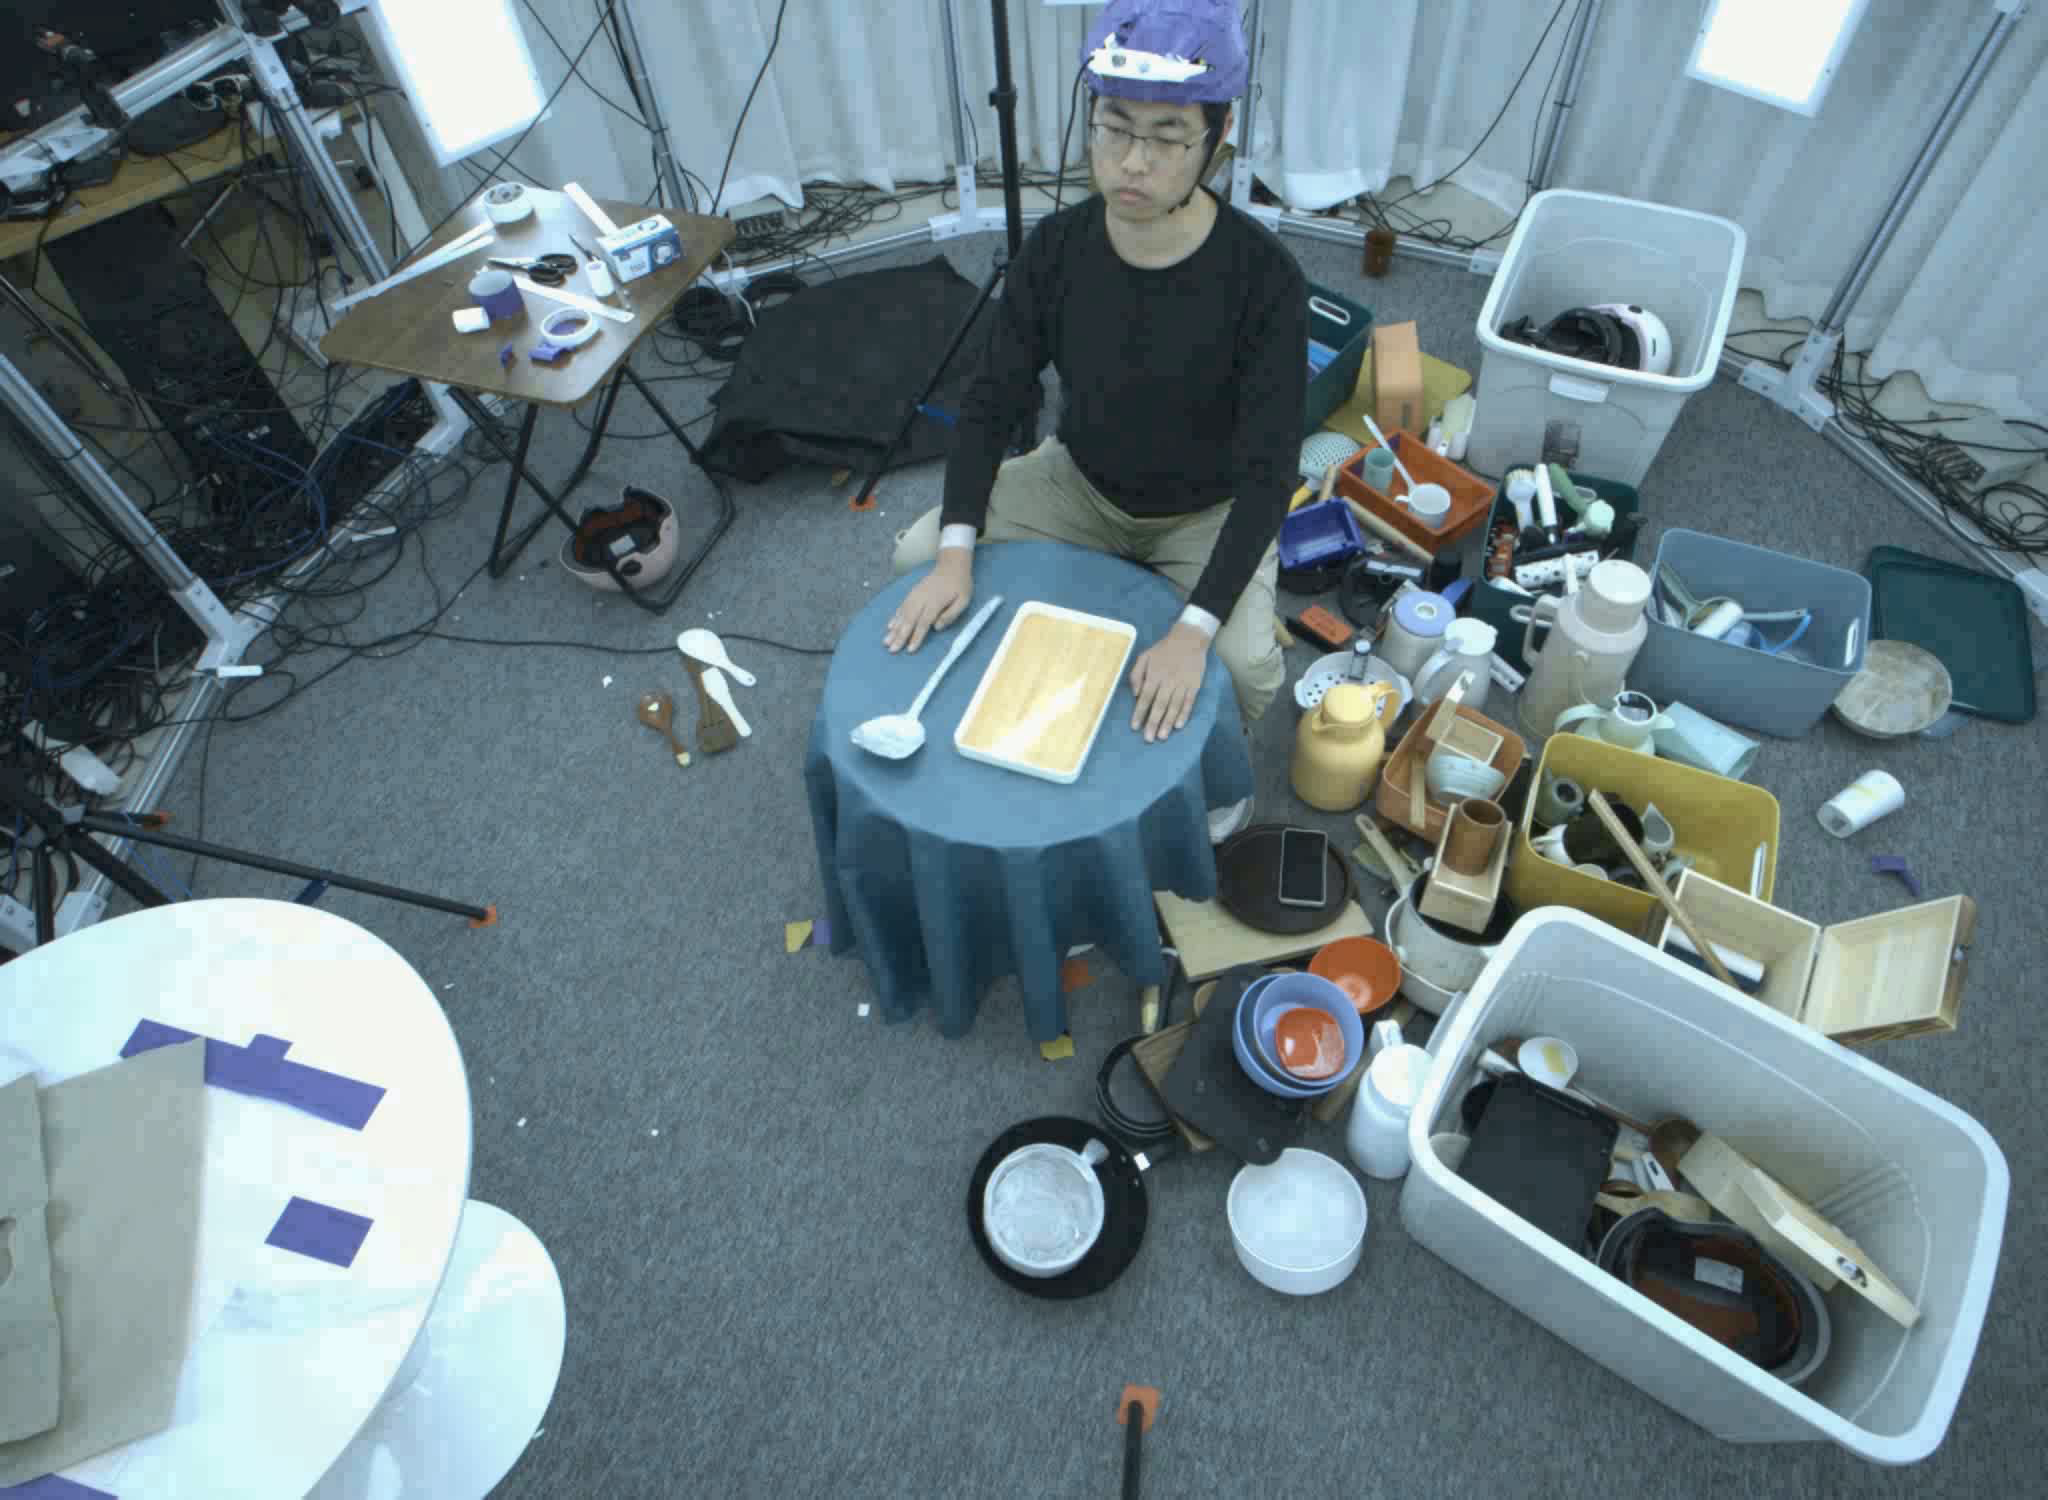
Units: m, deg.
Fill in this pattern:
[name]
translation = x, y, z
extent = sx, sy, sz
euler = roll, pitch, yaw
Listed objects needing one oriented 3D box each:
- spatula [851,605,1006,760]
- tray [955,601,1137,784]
[spatula]
translation = -0.128, -0.116, 1.850
extent = 0.097, 0.045, 0.365
euler = 23, 59, 18
[tray]
translation = 0.037, -0.092, 1.835
extent = 0.189, 0.028, 0.300
euler = 16, 57, 13
